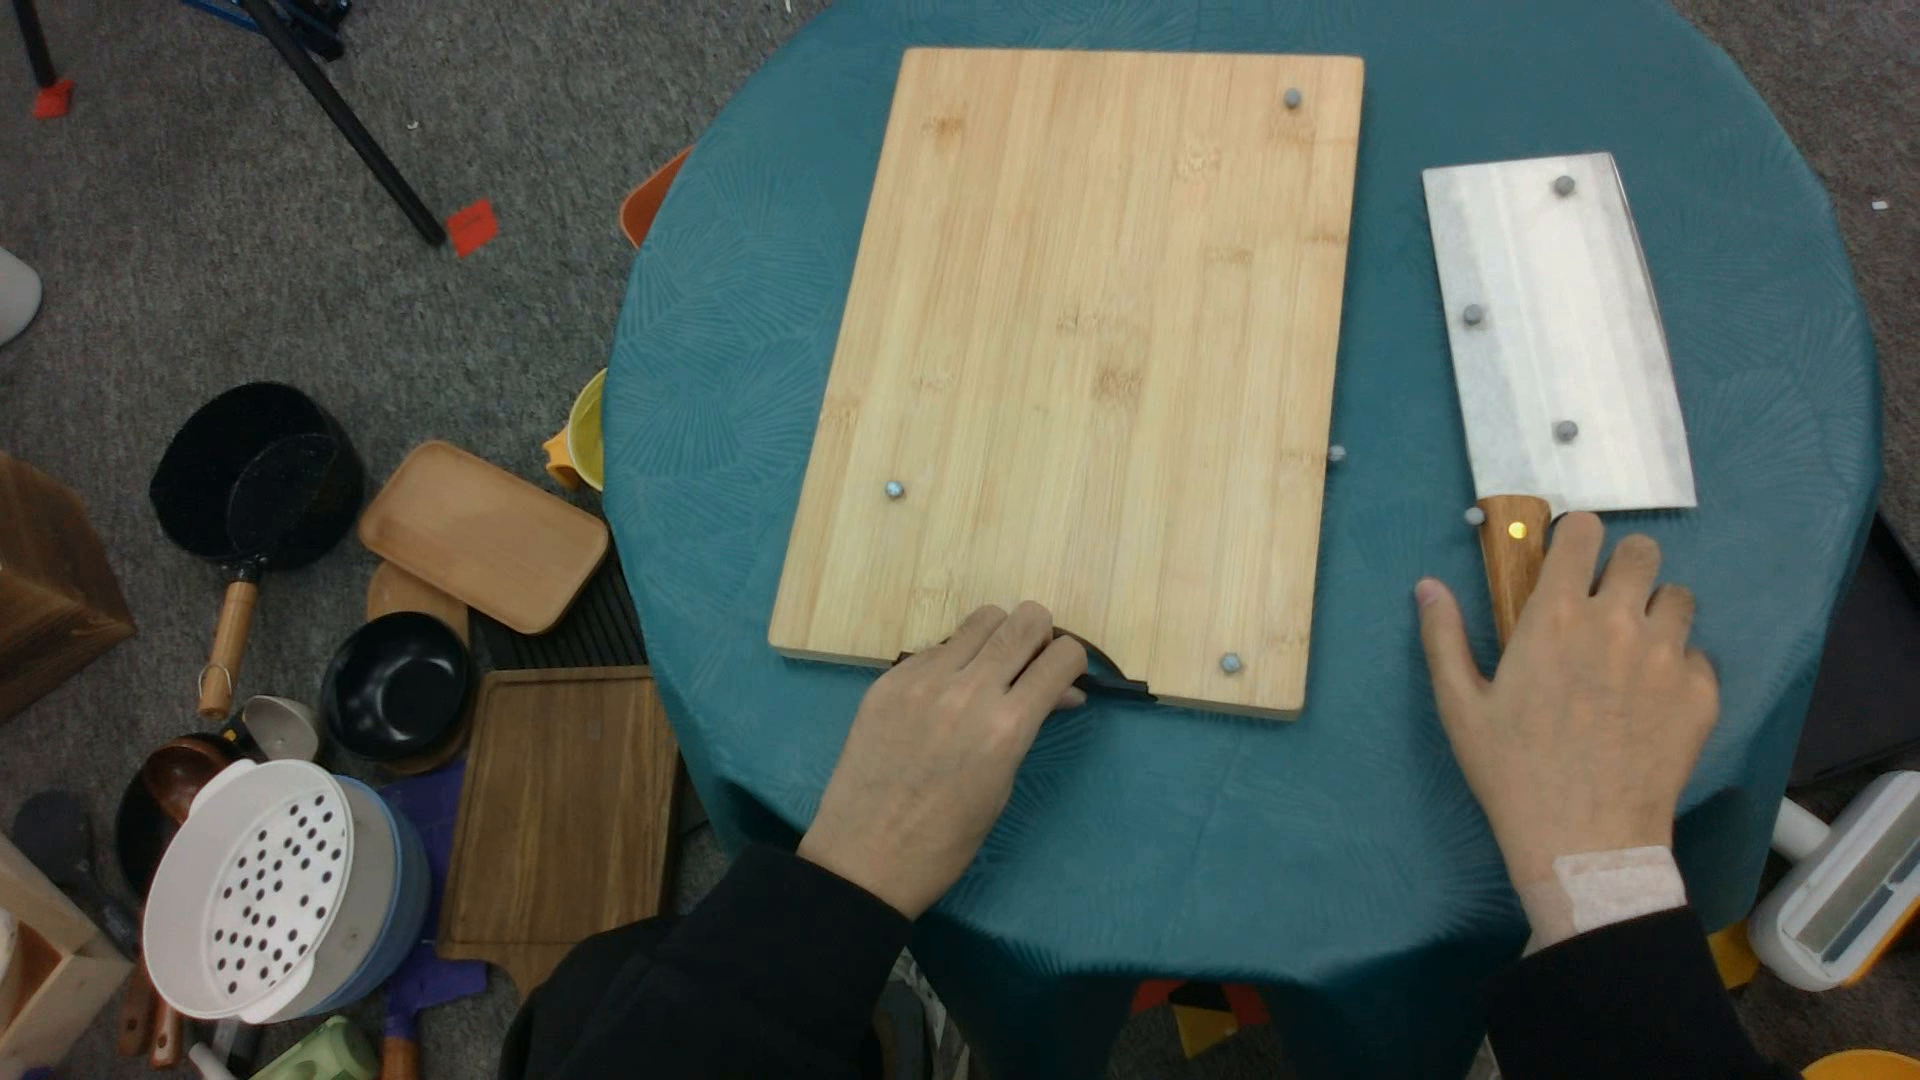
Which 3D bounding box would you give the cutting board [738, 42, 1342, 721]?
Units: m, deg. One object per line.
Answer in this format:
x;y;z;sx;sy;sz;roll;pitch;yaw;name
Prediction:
0.047;-0.095;0.666;0.250;0.023;0.350;5;69;11;cutting board

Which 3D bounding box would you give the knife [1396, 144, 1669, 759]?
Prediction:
0.261;-0.054;0.614;0.093;0.021;0.307;-4;65;6;knife
